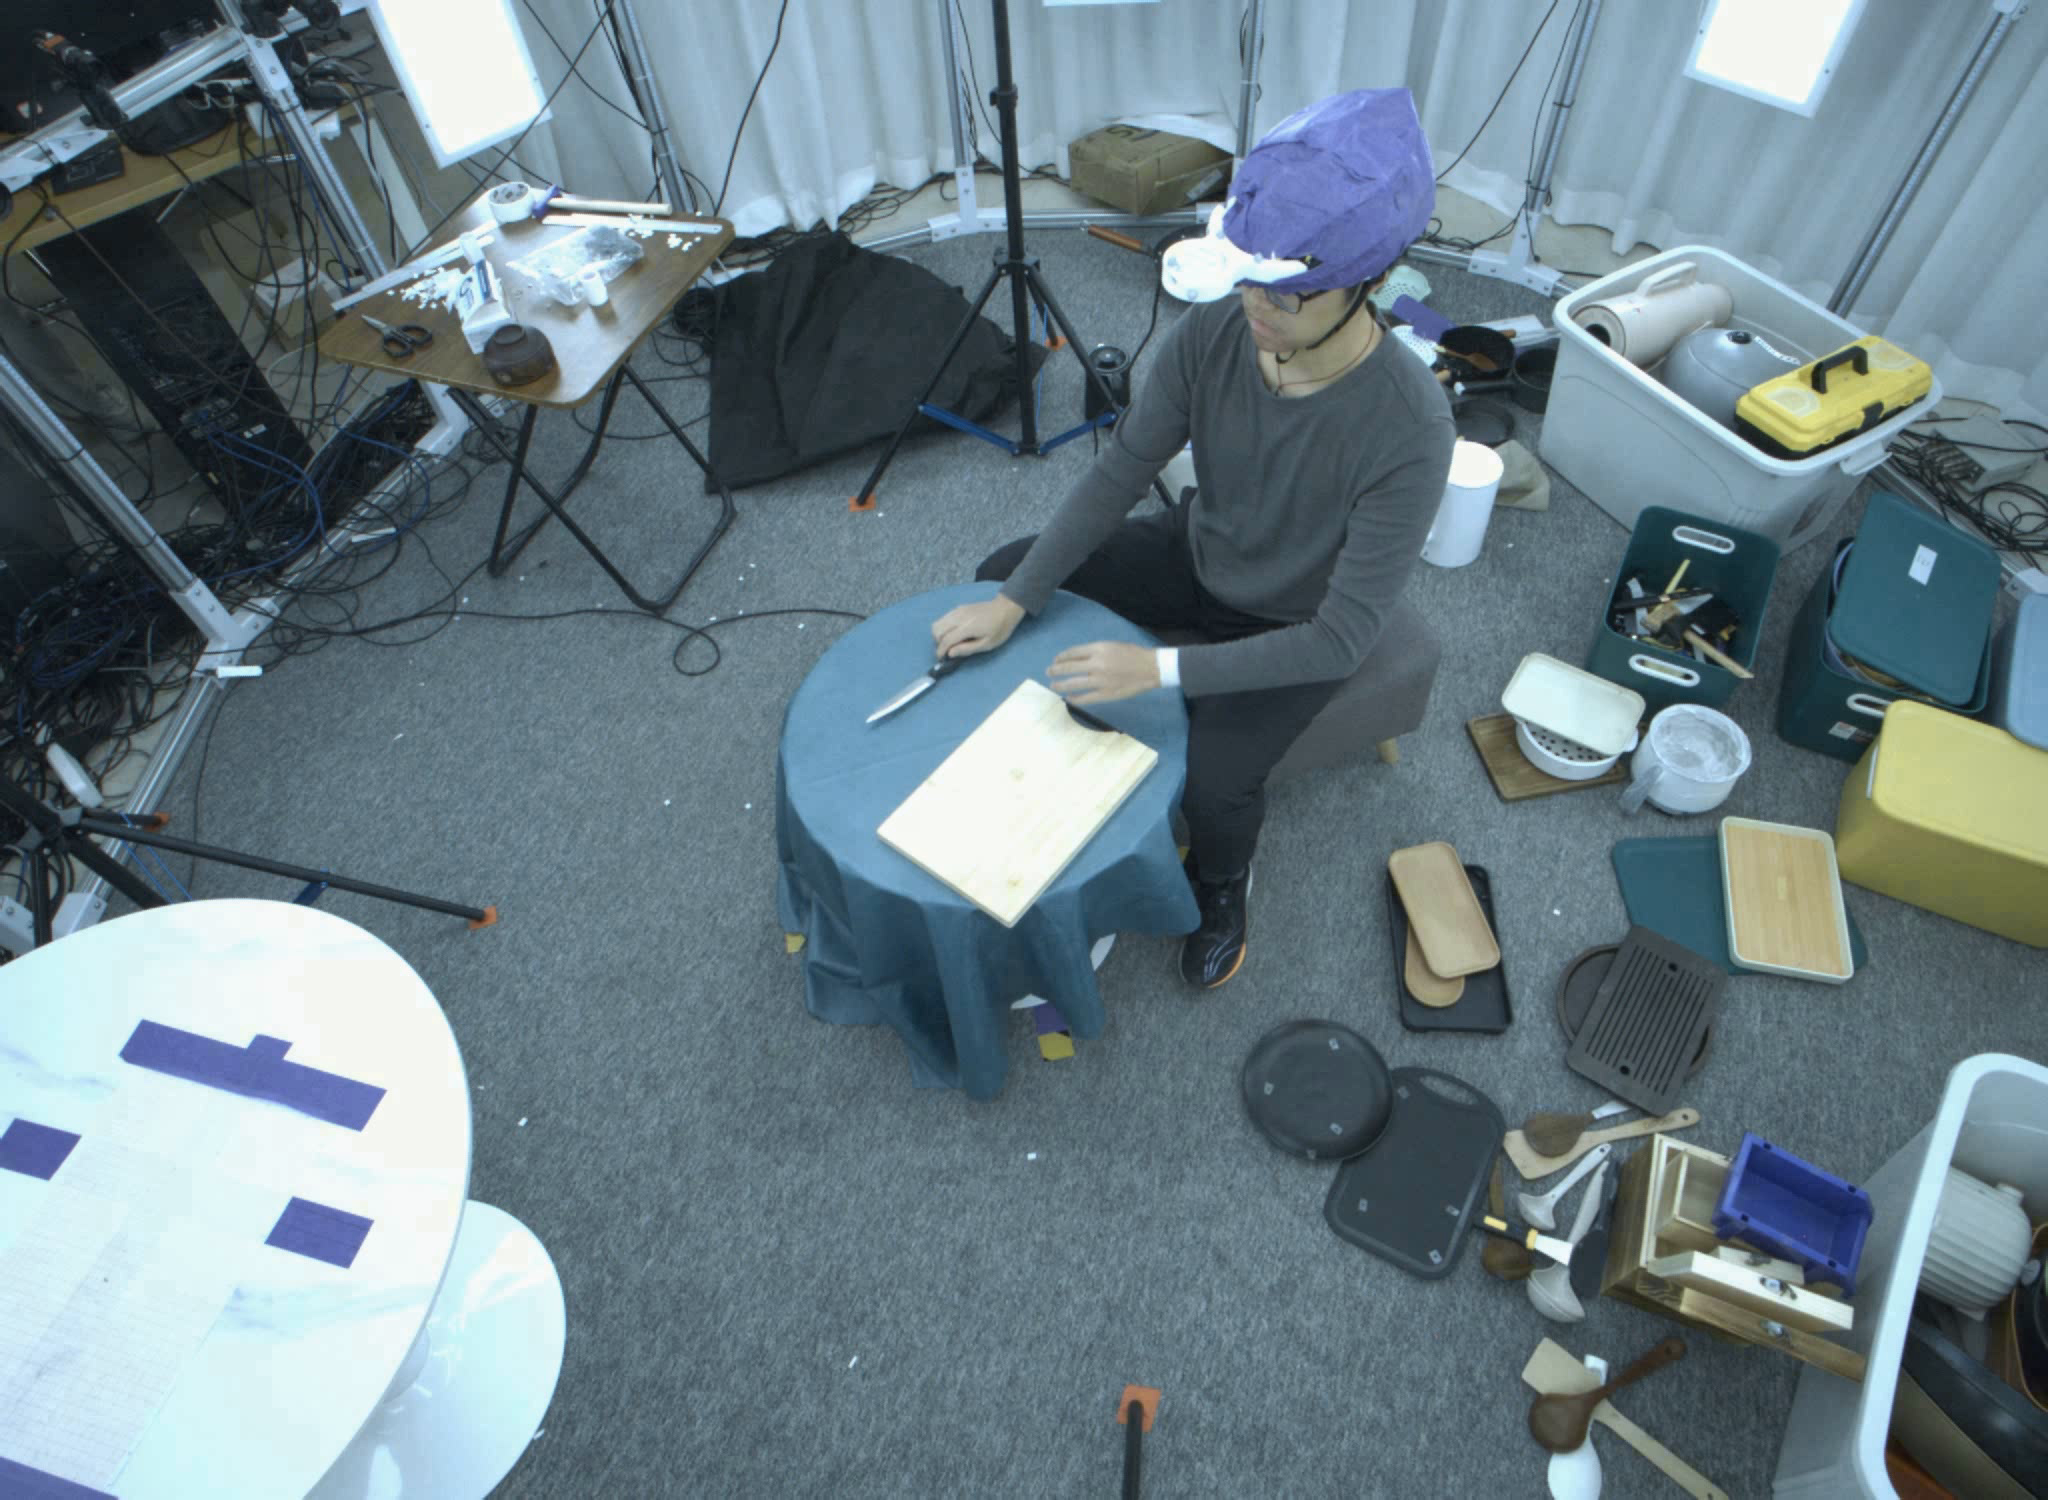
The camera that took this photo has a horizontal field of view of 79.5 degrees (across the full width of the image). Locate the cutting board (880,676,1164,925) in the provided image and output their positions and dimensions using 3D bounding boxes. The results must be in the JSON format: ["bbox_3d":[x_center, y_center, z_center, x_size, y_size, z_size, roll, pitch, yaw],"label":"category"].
[{"bbox_3d":[-0.002,0.060,1.743,0.247,0.024,0.350,31,61,21],"label":"cutting board"}]

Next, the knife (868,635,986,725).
[{"bbox_3d":[-0.149,-0.108,1.864,0.024,0.016,0.240,36,61,28],"label":"knife"}]
